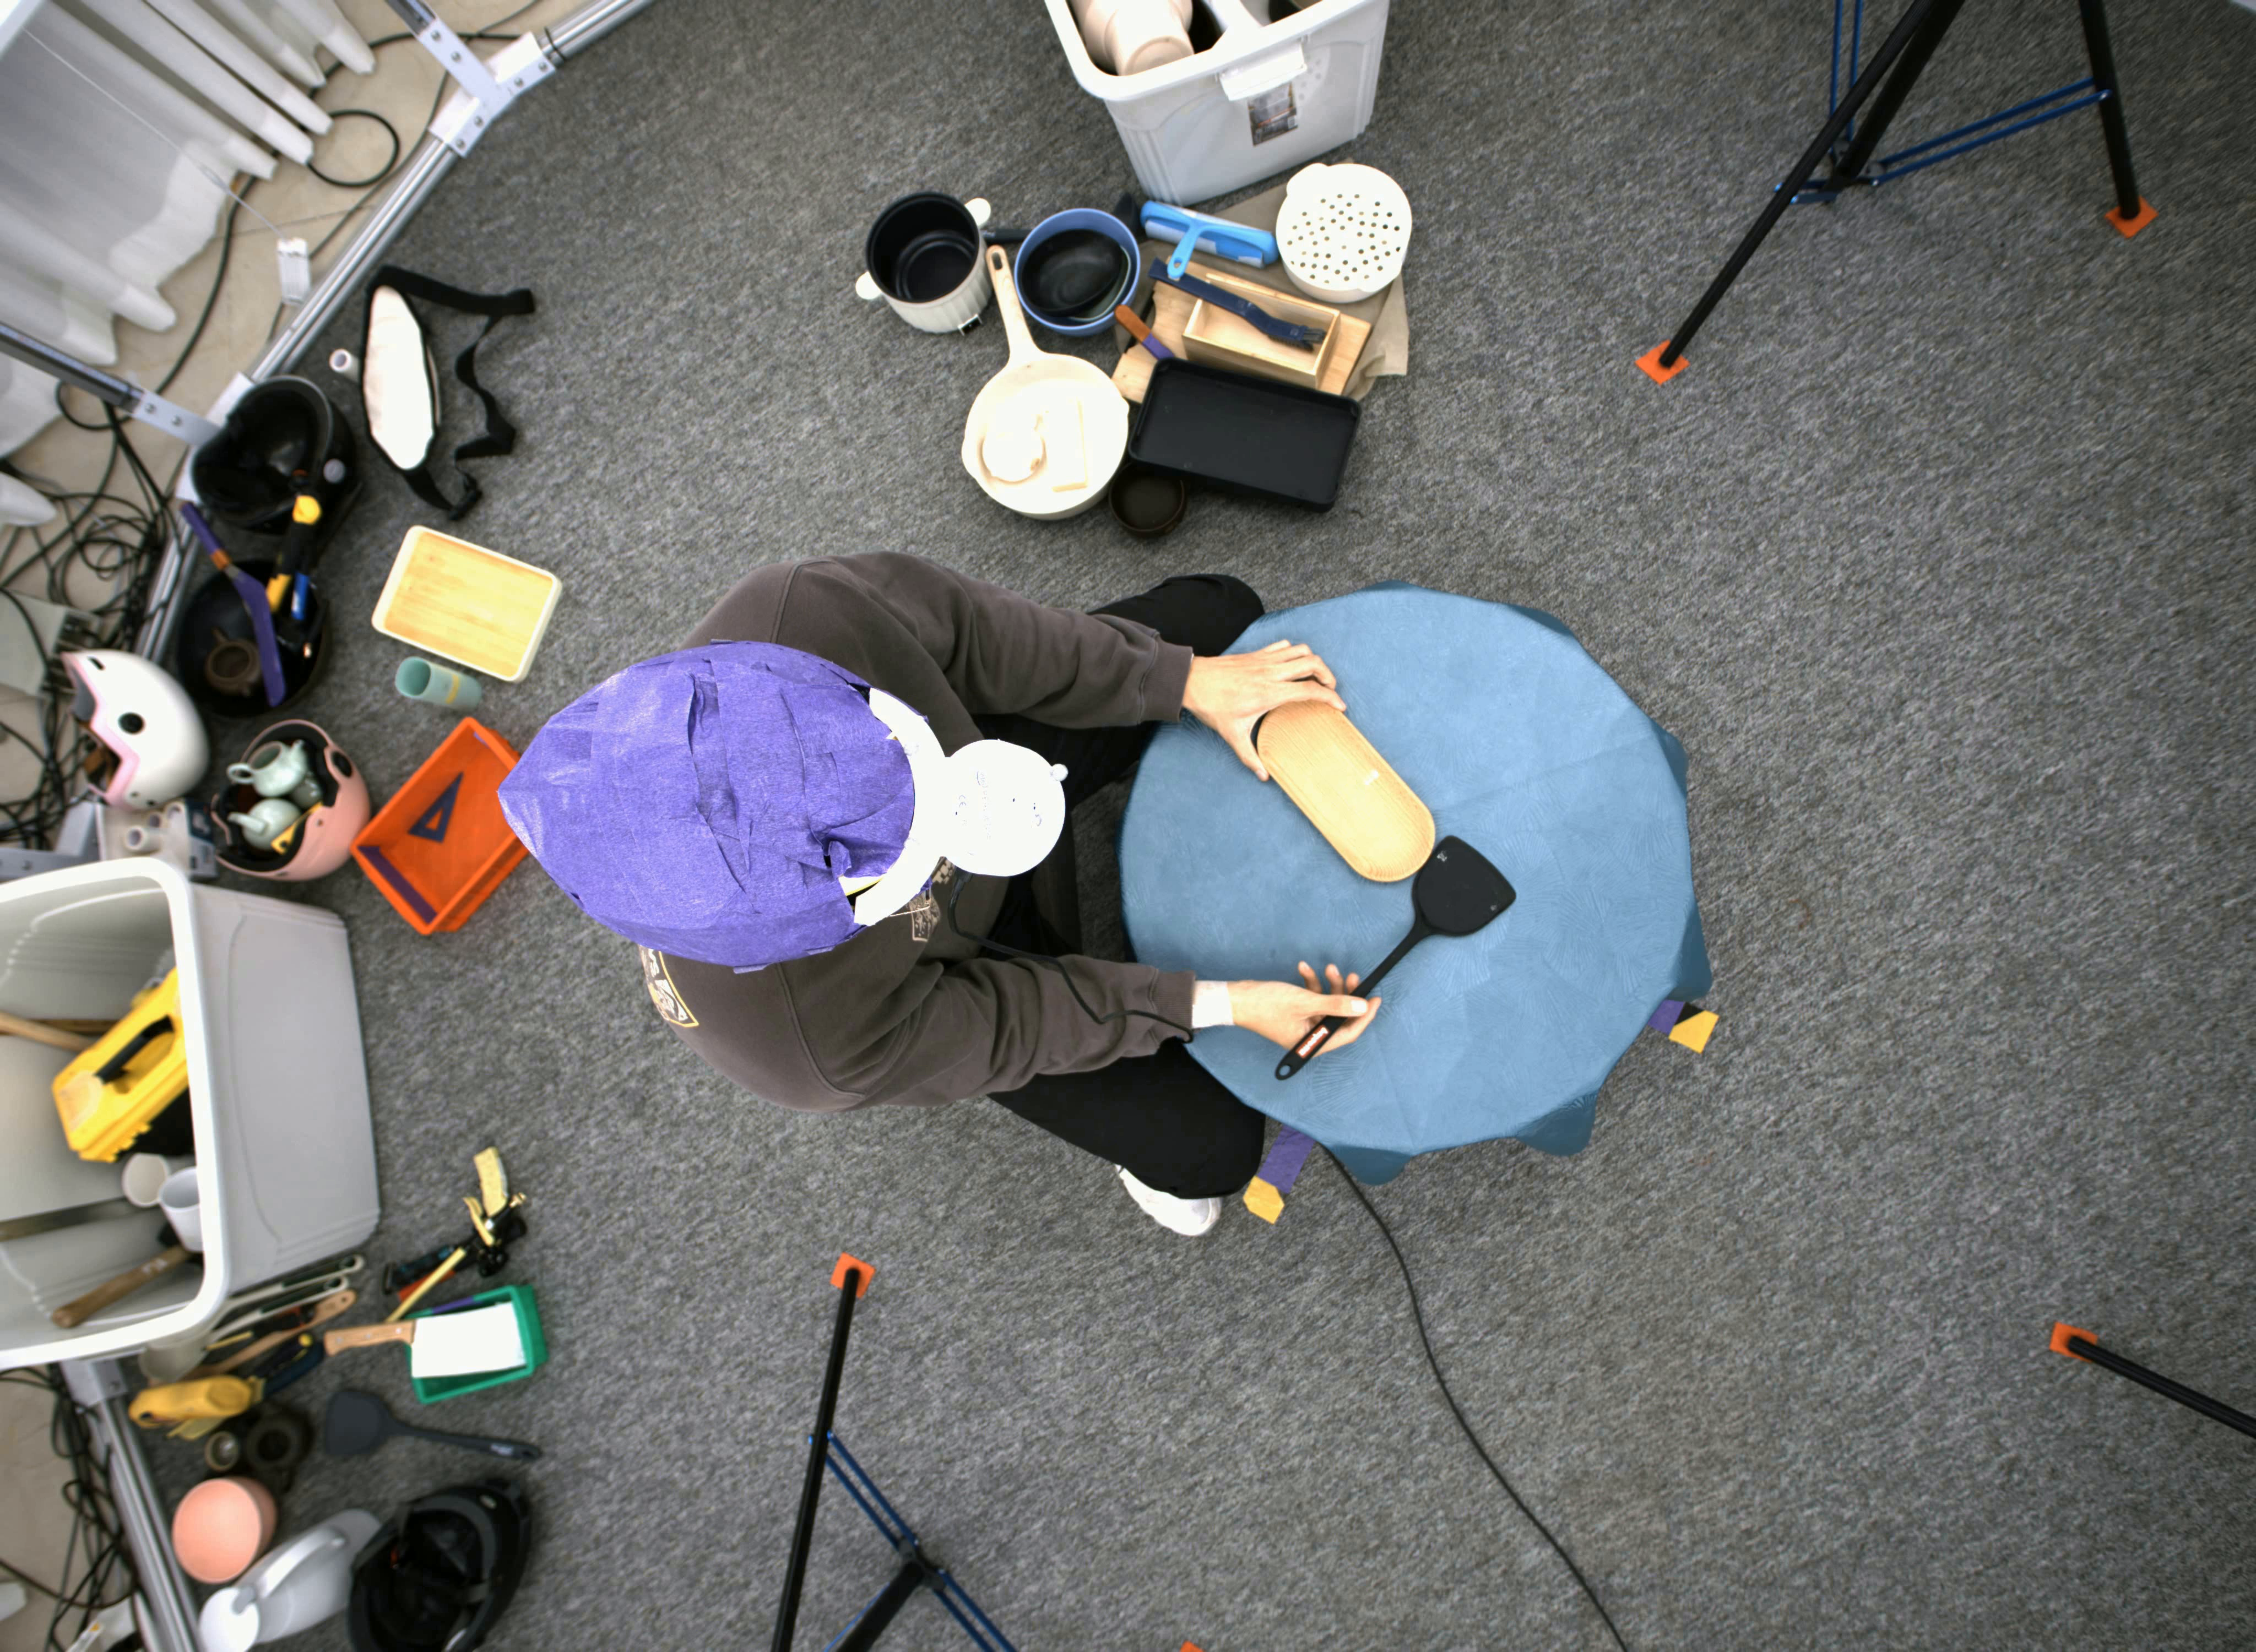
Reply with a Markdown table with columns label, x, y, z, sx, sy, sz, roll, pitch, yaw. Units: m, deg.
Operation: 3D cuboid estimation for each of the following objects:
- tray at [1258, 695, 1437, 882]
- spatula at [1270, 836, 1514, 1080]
| label | x | y | z | sx | sy | sz | roll | pitch | yaw |
| --- | --- | --- | --- | --- | --- | --- | --- | --- | --- |
| tray | 0.231 | -0.041 | 1.461 | 0.102 | 0.020 | 0.230 | -42 | 83 | 6 |
| spatula | 0.259 | 0.142 | 1.407 | 0.322 | 0.041 | 0.099 | -41 | 78 | -19 |
